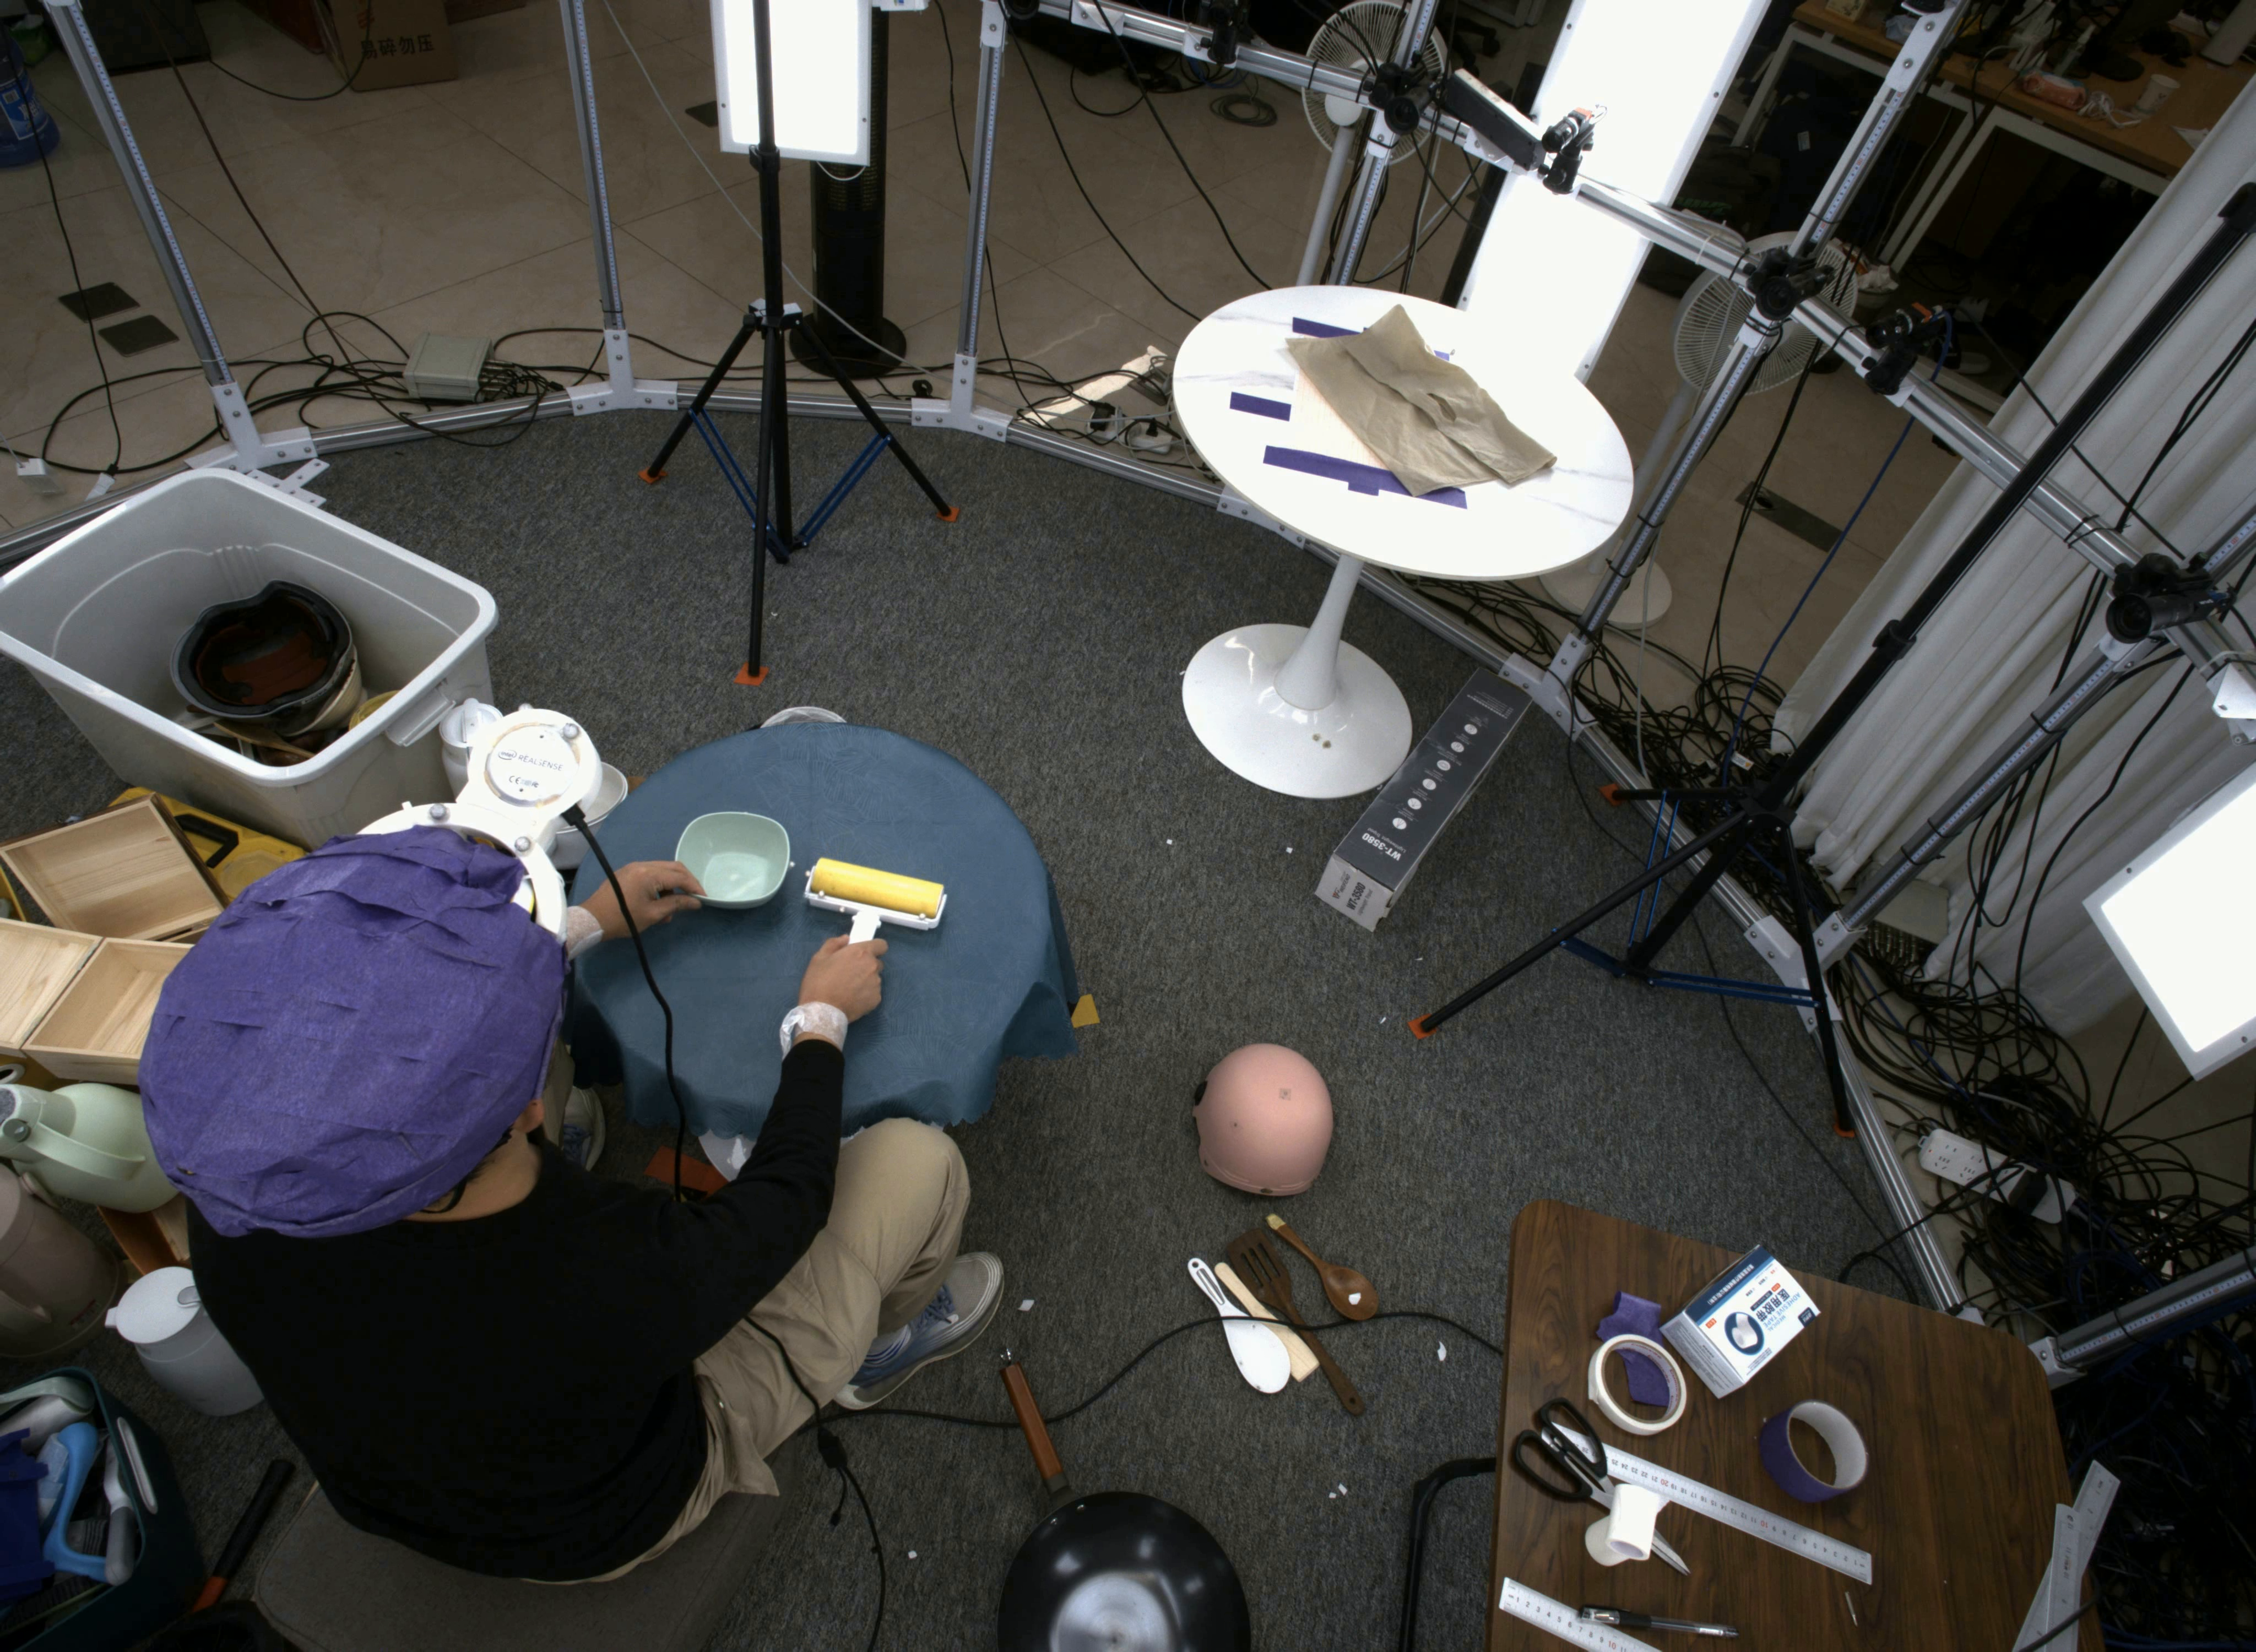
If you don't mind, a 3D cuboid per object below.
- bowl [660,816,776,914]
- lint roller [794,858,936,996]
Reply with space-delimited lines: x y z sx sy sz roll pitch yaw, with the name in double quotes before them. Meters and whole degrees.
"bowl" -0.511 0.057 1.616 0.151 0.060 0.148 9 50 -9
"lint roller" -0.335 0.122 1.597 0.174 0.052 0.188 11 37 -7
